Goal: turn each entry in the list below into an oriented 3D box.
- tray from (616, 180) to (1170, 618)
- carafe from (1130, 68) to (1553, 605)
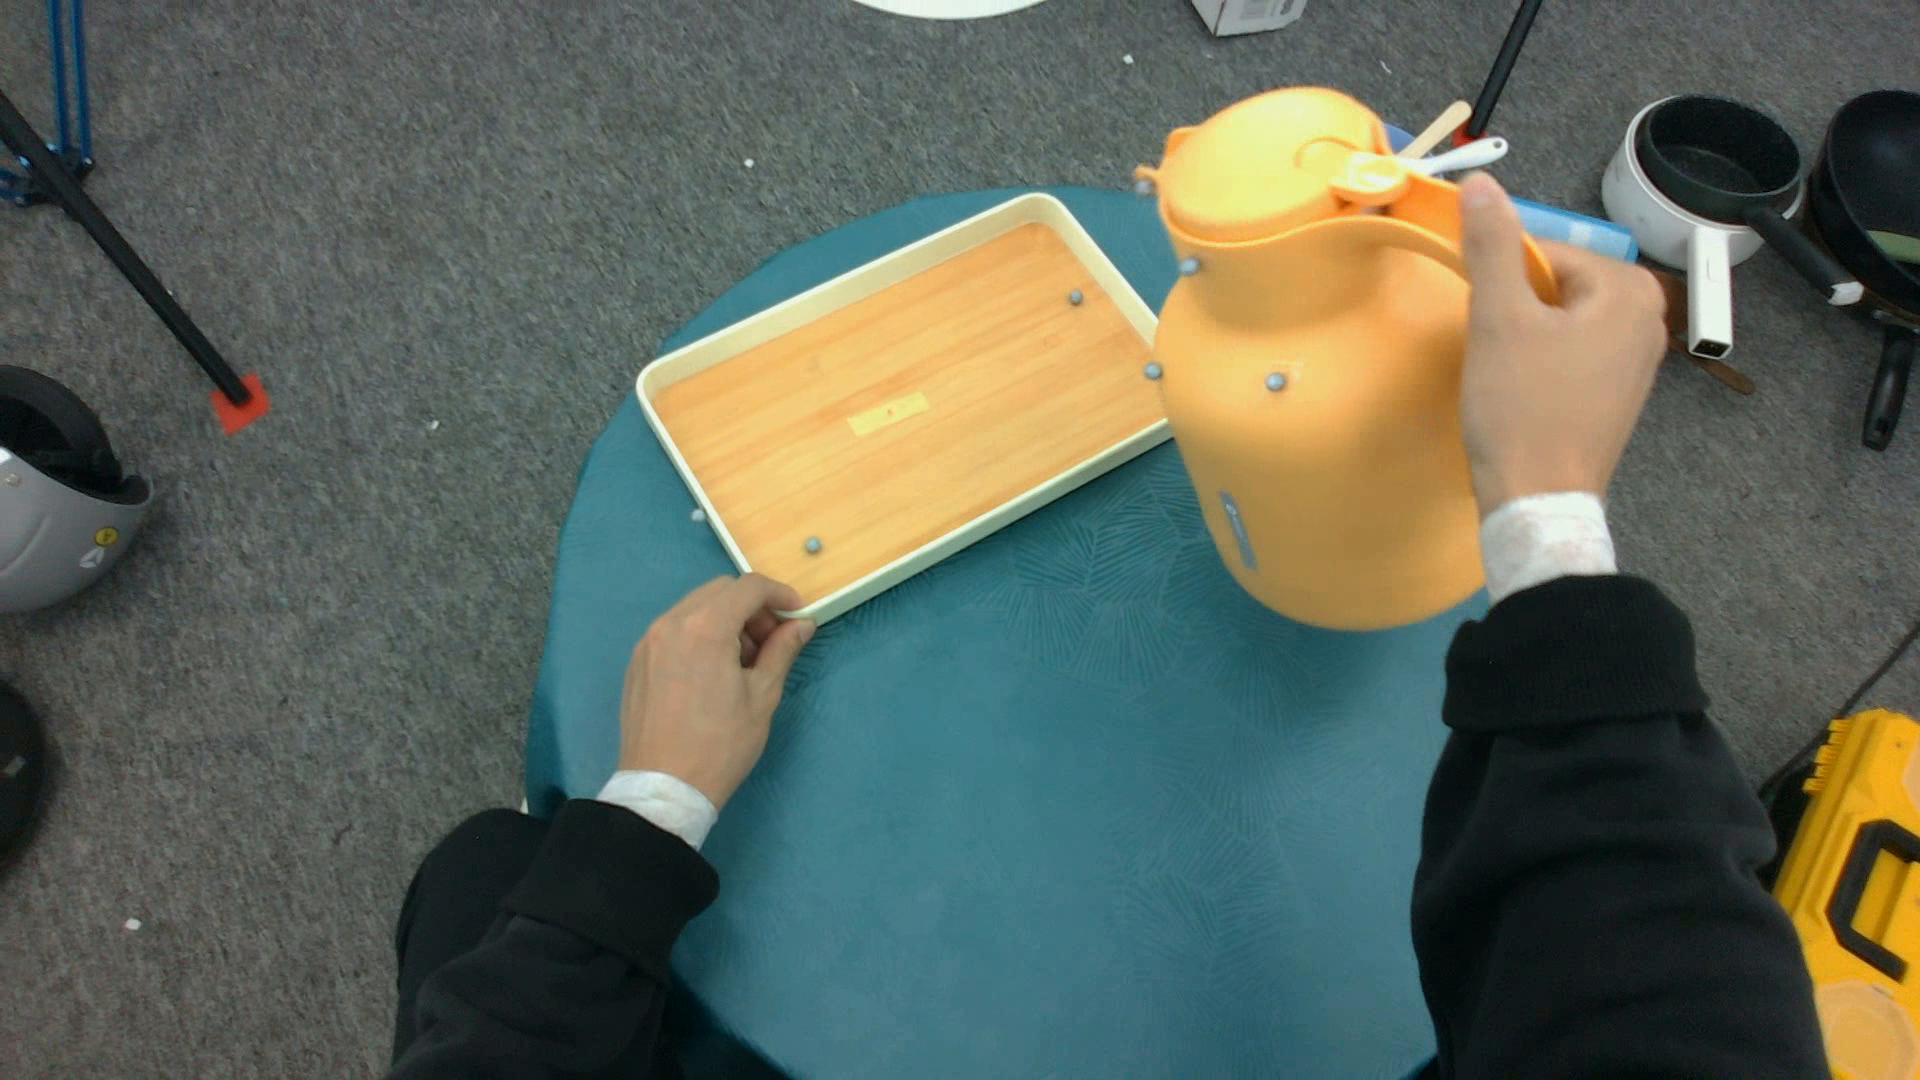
[{"bbox_3d":[-0.032,-0.094,0.824,0.301,0.027,0.192,-28,67,-17],"label":"tray"},{"bbox_3d":[0.182,-0.087,0.649,0.164,0.260,0.202,-45,45,-12],"label":"carafe"}]
